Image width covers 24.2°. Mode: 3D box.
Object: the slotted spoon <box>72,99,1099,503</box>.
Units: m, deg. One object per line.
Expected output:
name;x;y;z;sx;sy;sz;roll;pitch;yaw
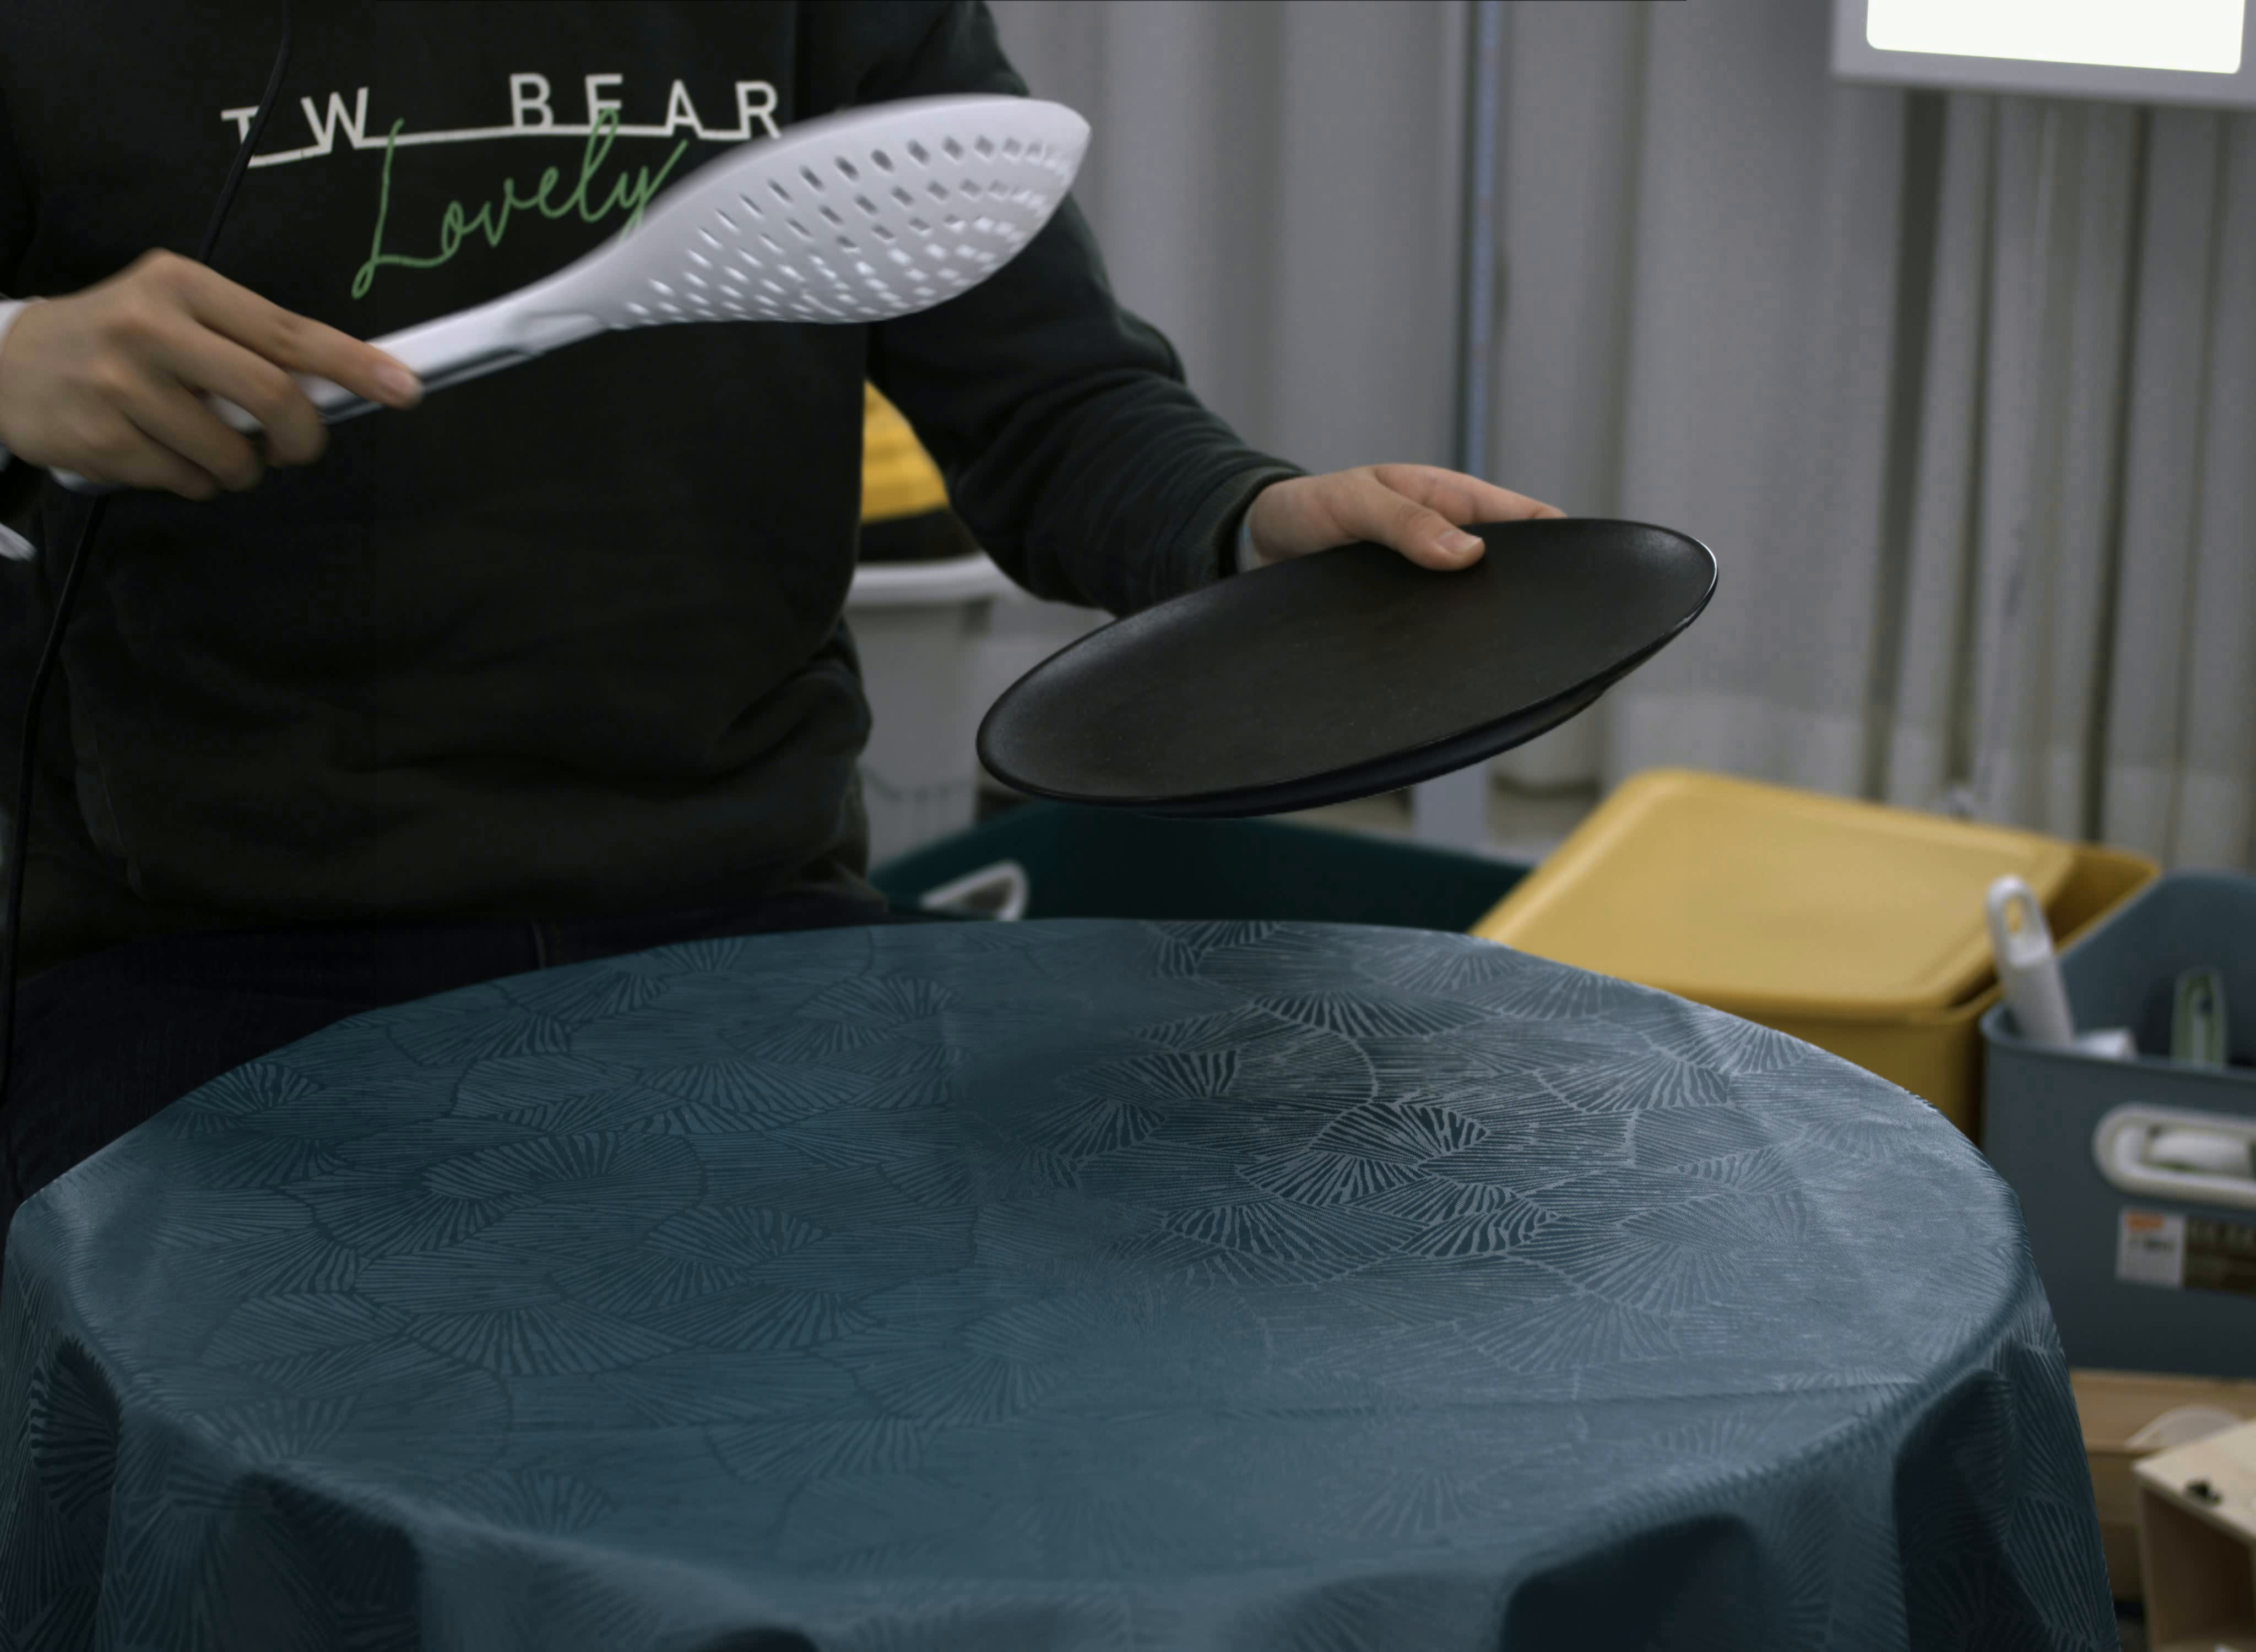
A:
slotted spoon;-0.172;-0.160;1.634;0.347;0.046;0.137;-12;-6;15

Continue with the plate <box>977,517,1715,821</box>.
plate;0.071;-0.047;1.687;0.243;0.023;0.243;-13;18;5
